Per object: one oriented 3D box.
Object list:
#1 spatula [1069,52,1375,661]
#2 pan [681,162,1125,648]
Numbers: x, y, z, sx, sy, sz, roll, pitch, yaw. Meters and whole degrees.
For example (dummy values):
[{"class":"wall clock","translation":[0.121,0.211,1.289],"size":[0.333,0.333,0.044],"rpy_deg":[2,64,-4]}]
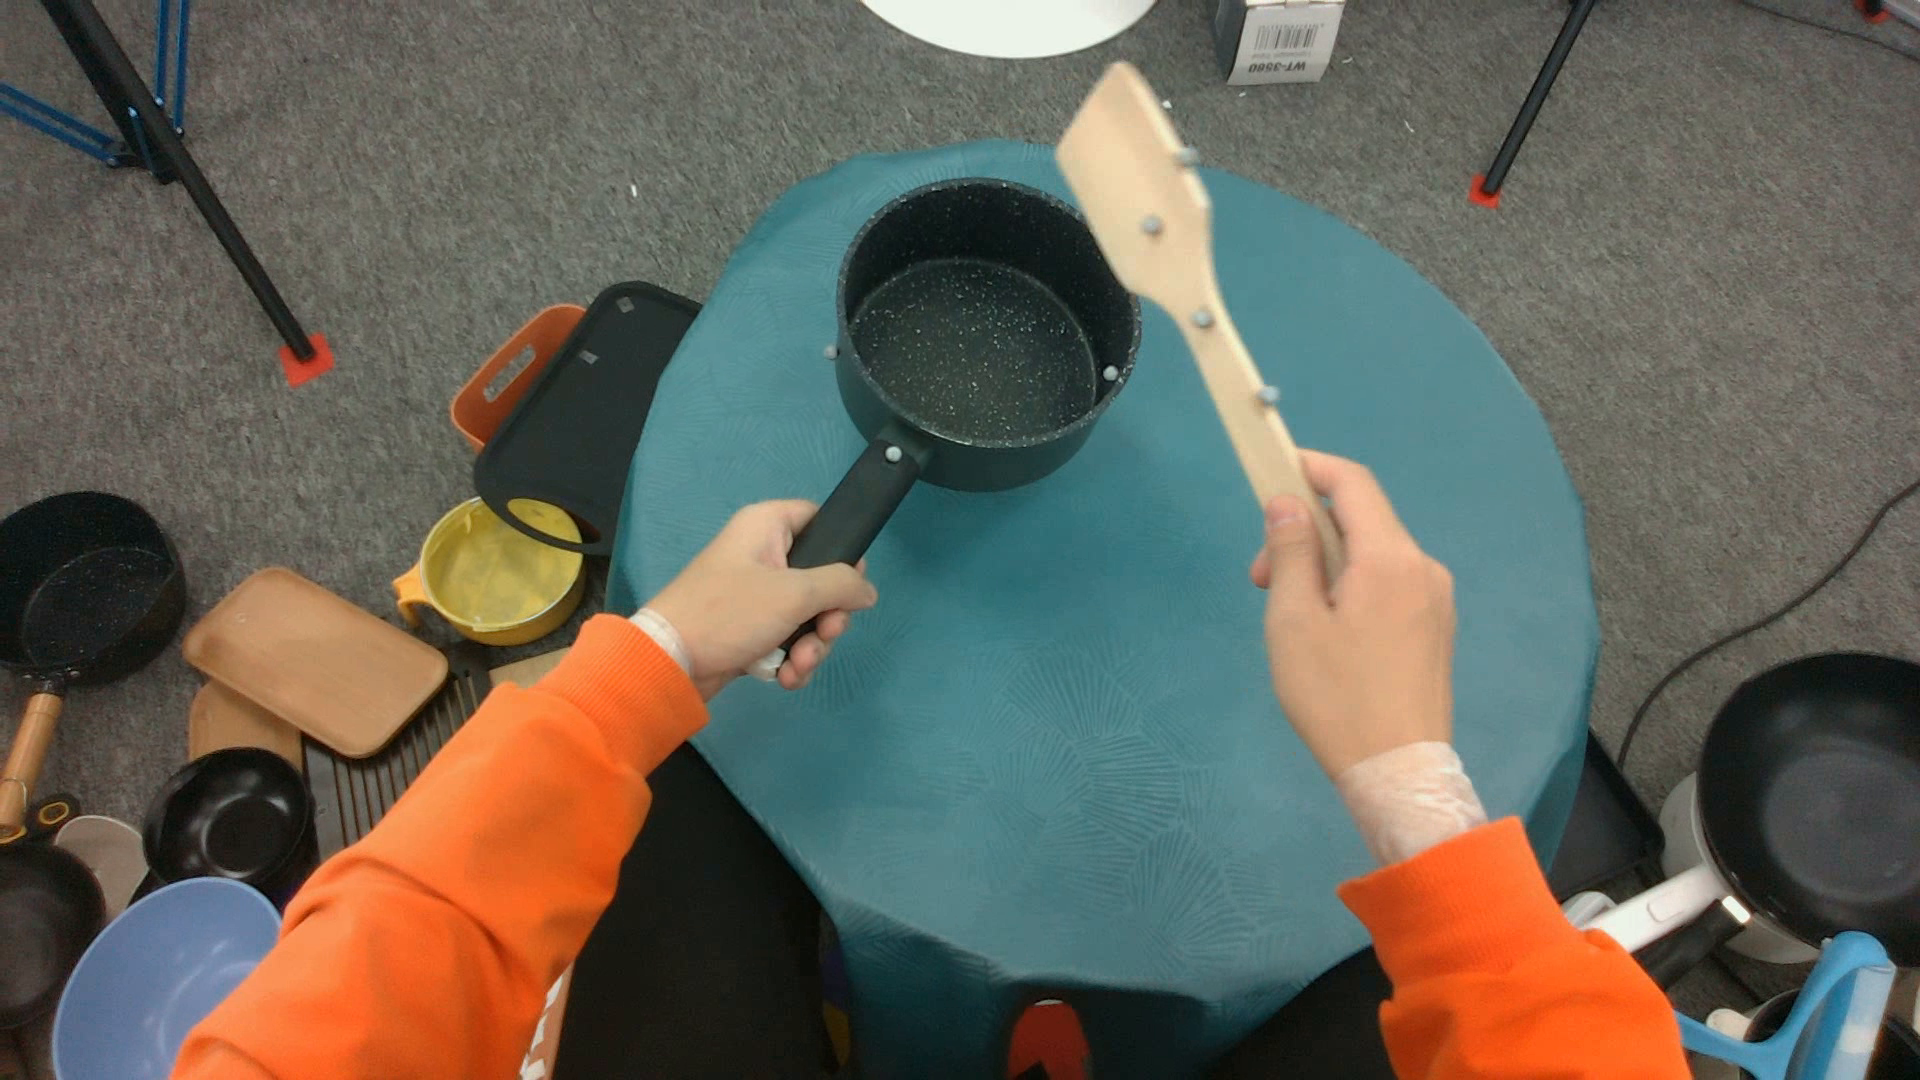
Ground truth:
[{"class":"spatula","translation":[0.123,-0.083,0.627],"size":[0.011,0.072,0.293],"rpy_deg":[-6,71,-43]},{"class":"pan","translation":[-0.039,-0.064,0.752],"size":[0.172,0.086,0.330],"rpy_deg":[33,64,5]}]
